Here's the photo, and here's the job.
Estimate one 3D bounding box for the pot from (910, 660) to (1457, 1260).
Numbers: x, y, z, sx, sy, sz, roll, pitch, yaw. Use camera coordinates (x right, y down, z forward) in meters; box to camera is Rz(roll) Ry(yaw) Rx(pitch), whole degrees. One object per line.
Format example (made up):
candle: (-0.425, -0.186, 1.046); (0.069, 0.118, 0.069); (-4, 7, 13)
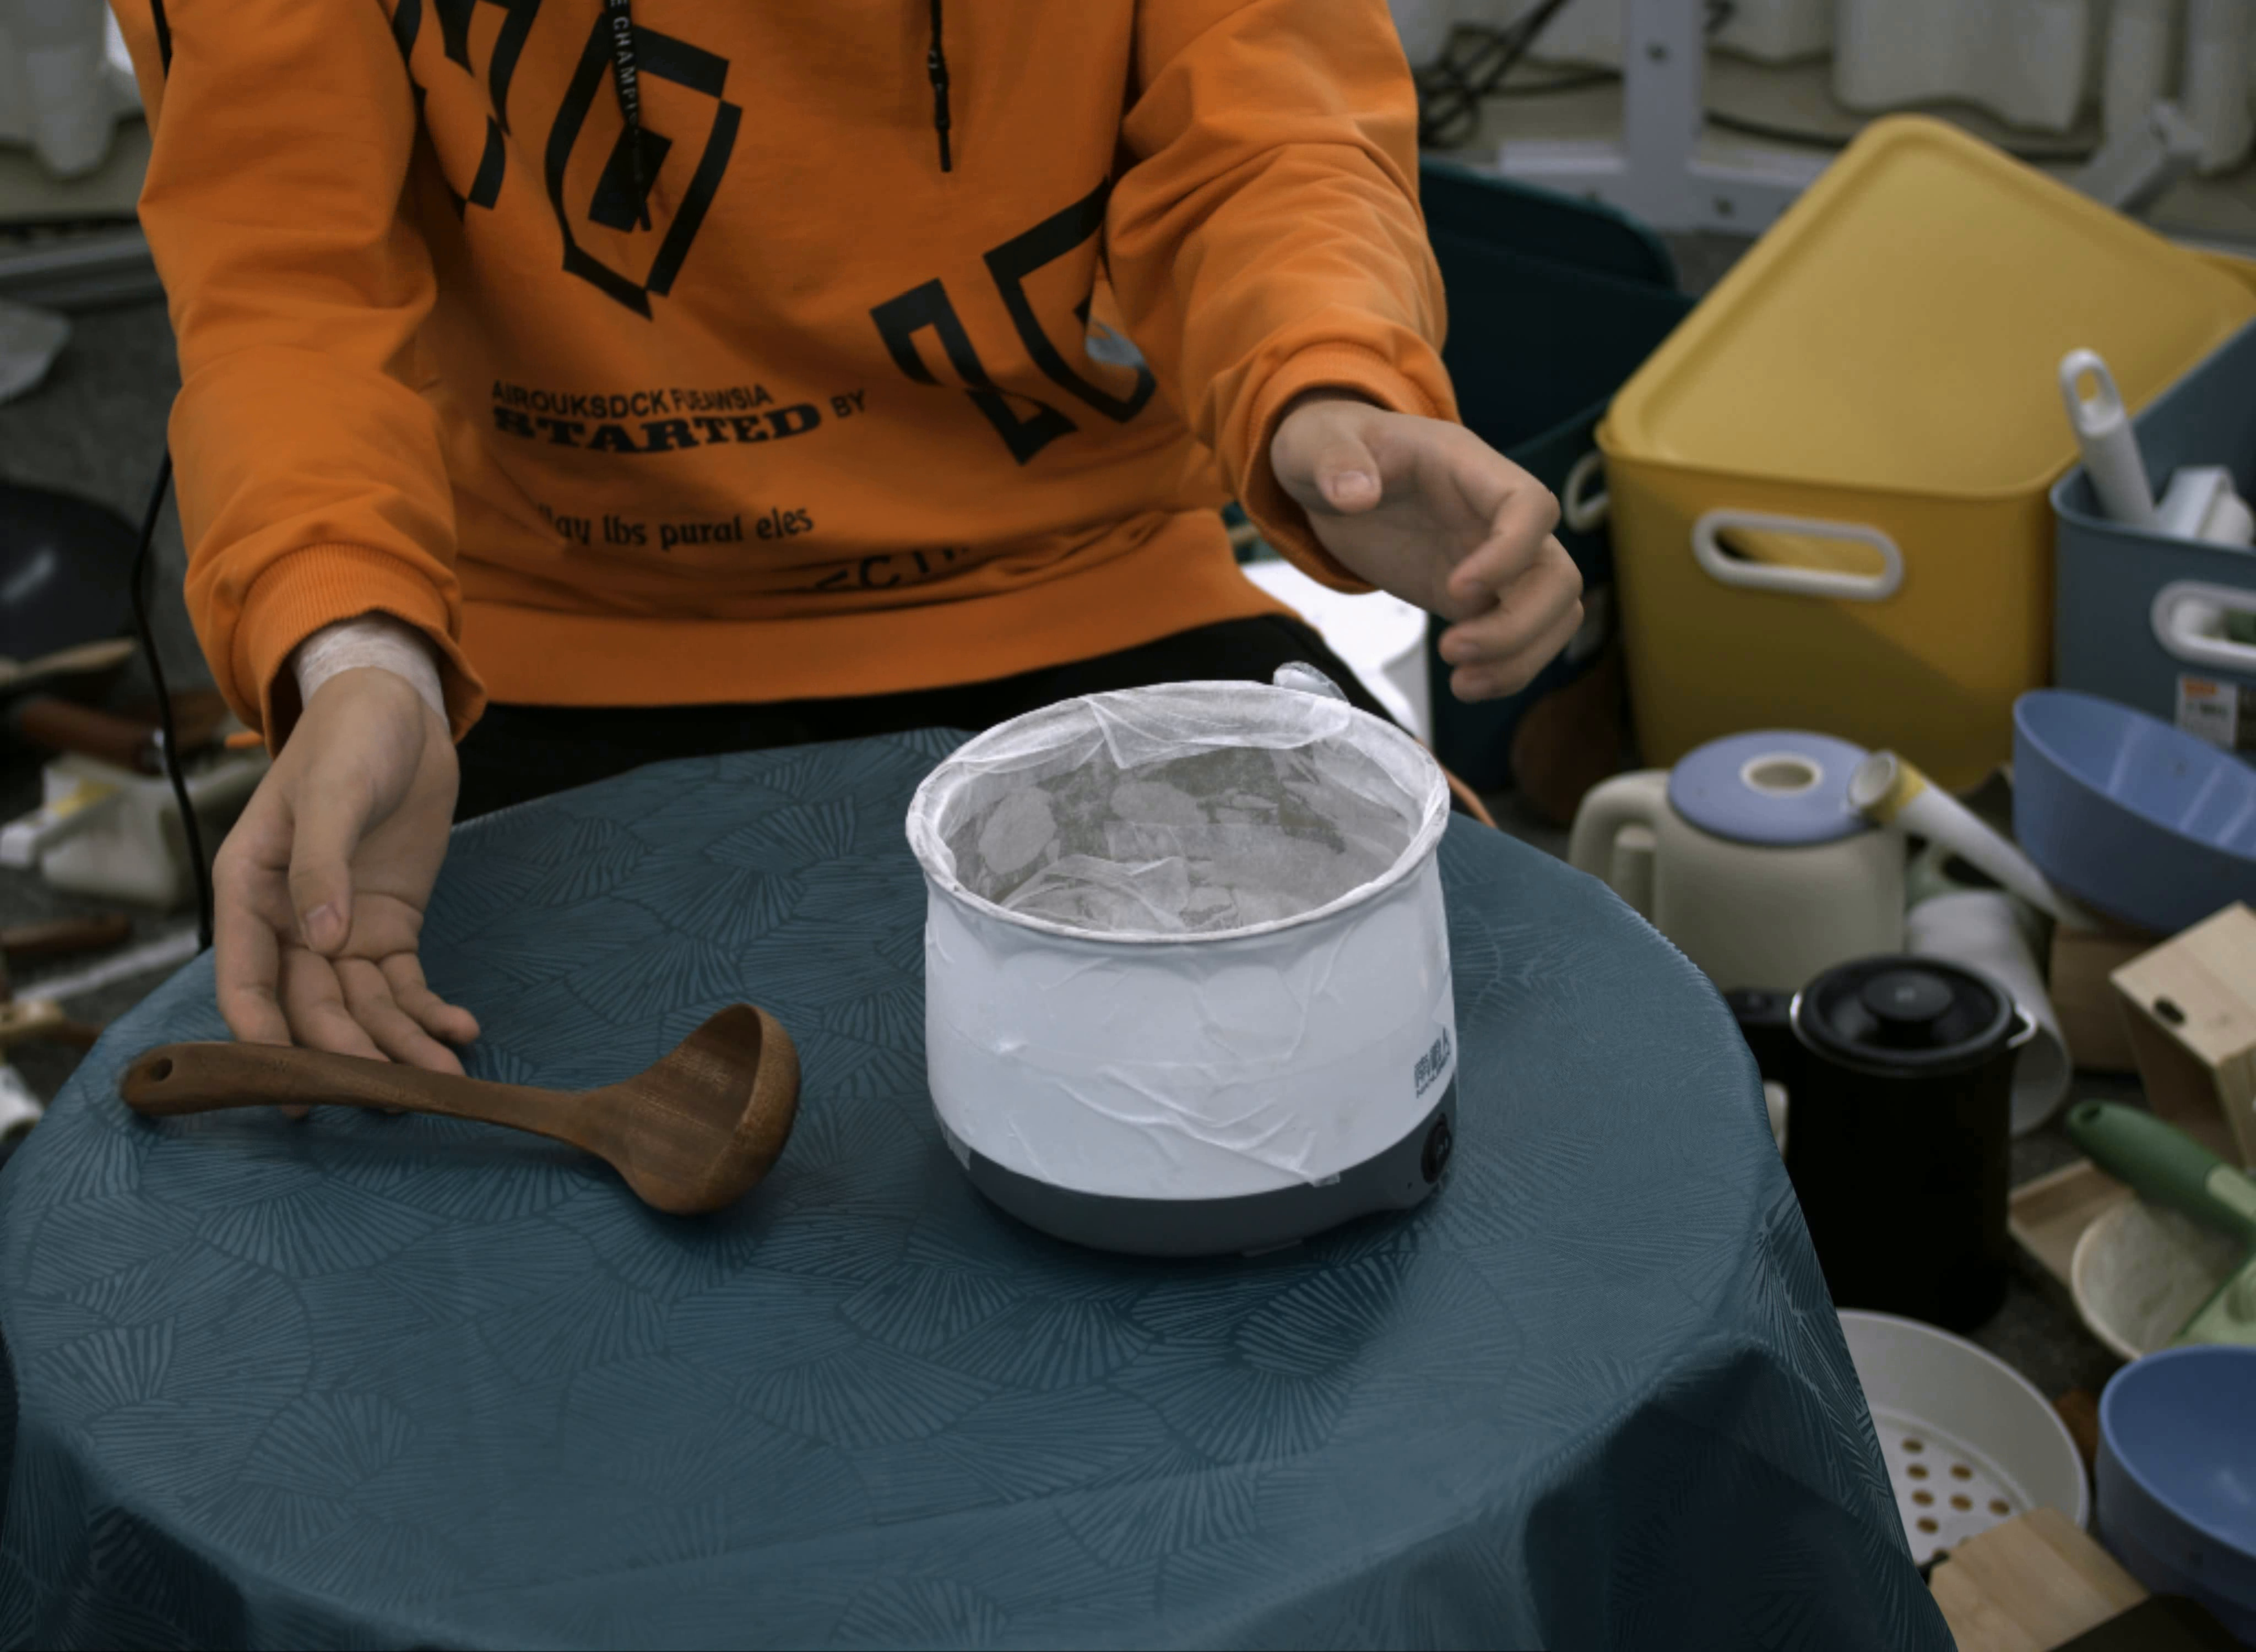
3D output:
pot: (0.030, 0.037, 1.876); (0.177, 0.135, 0.238); (9, 30, 21)

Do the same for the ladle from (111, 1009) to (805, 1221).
ladle: (-0.230, 0.087, 1.886); (0.258, 0.064, 0.078); (6, 53, 15)
